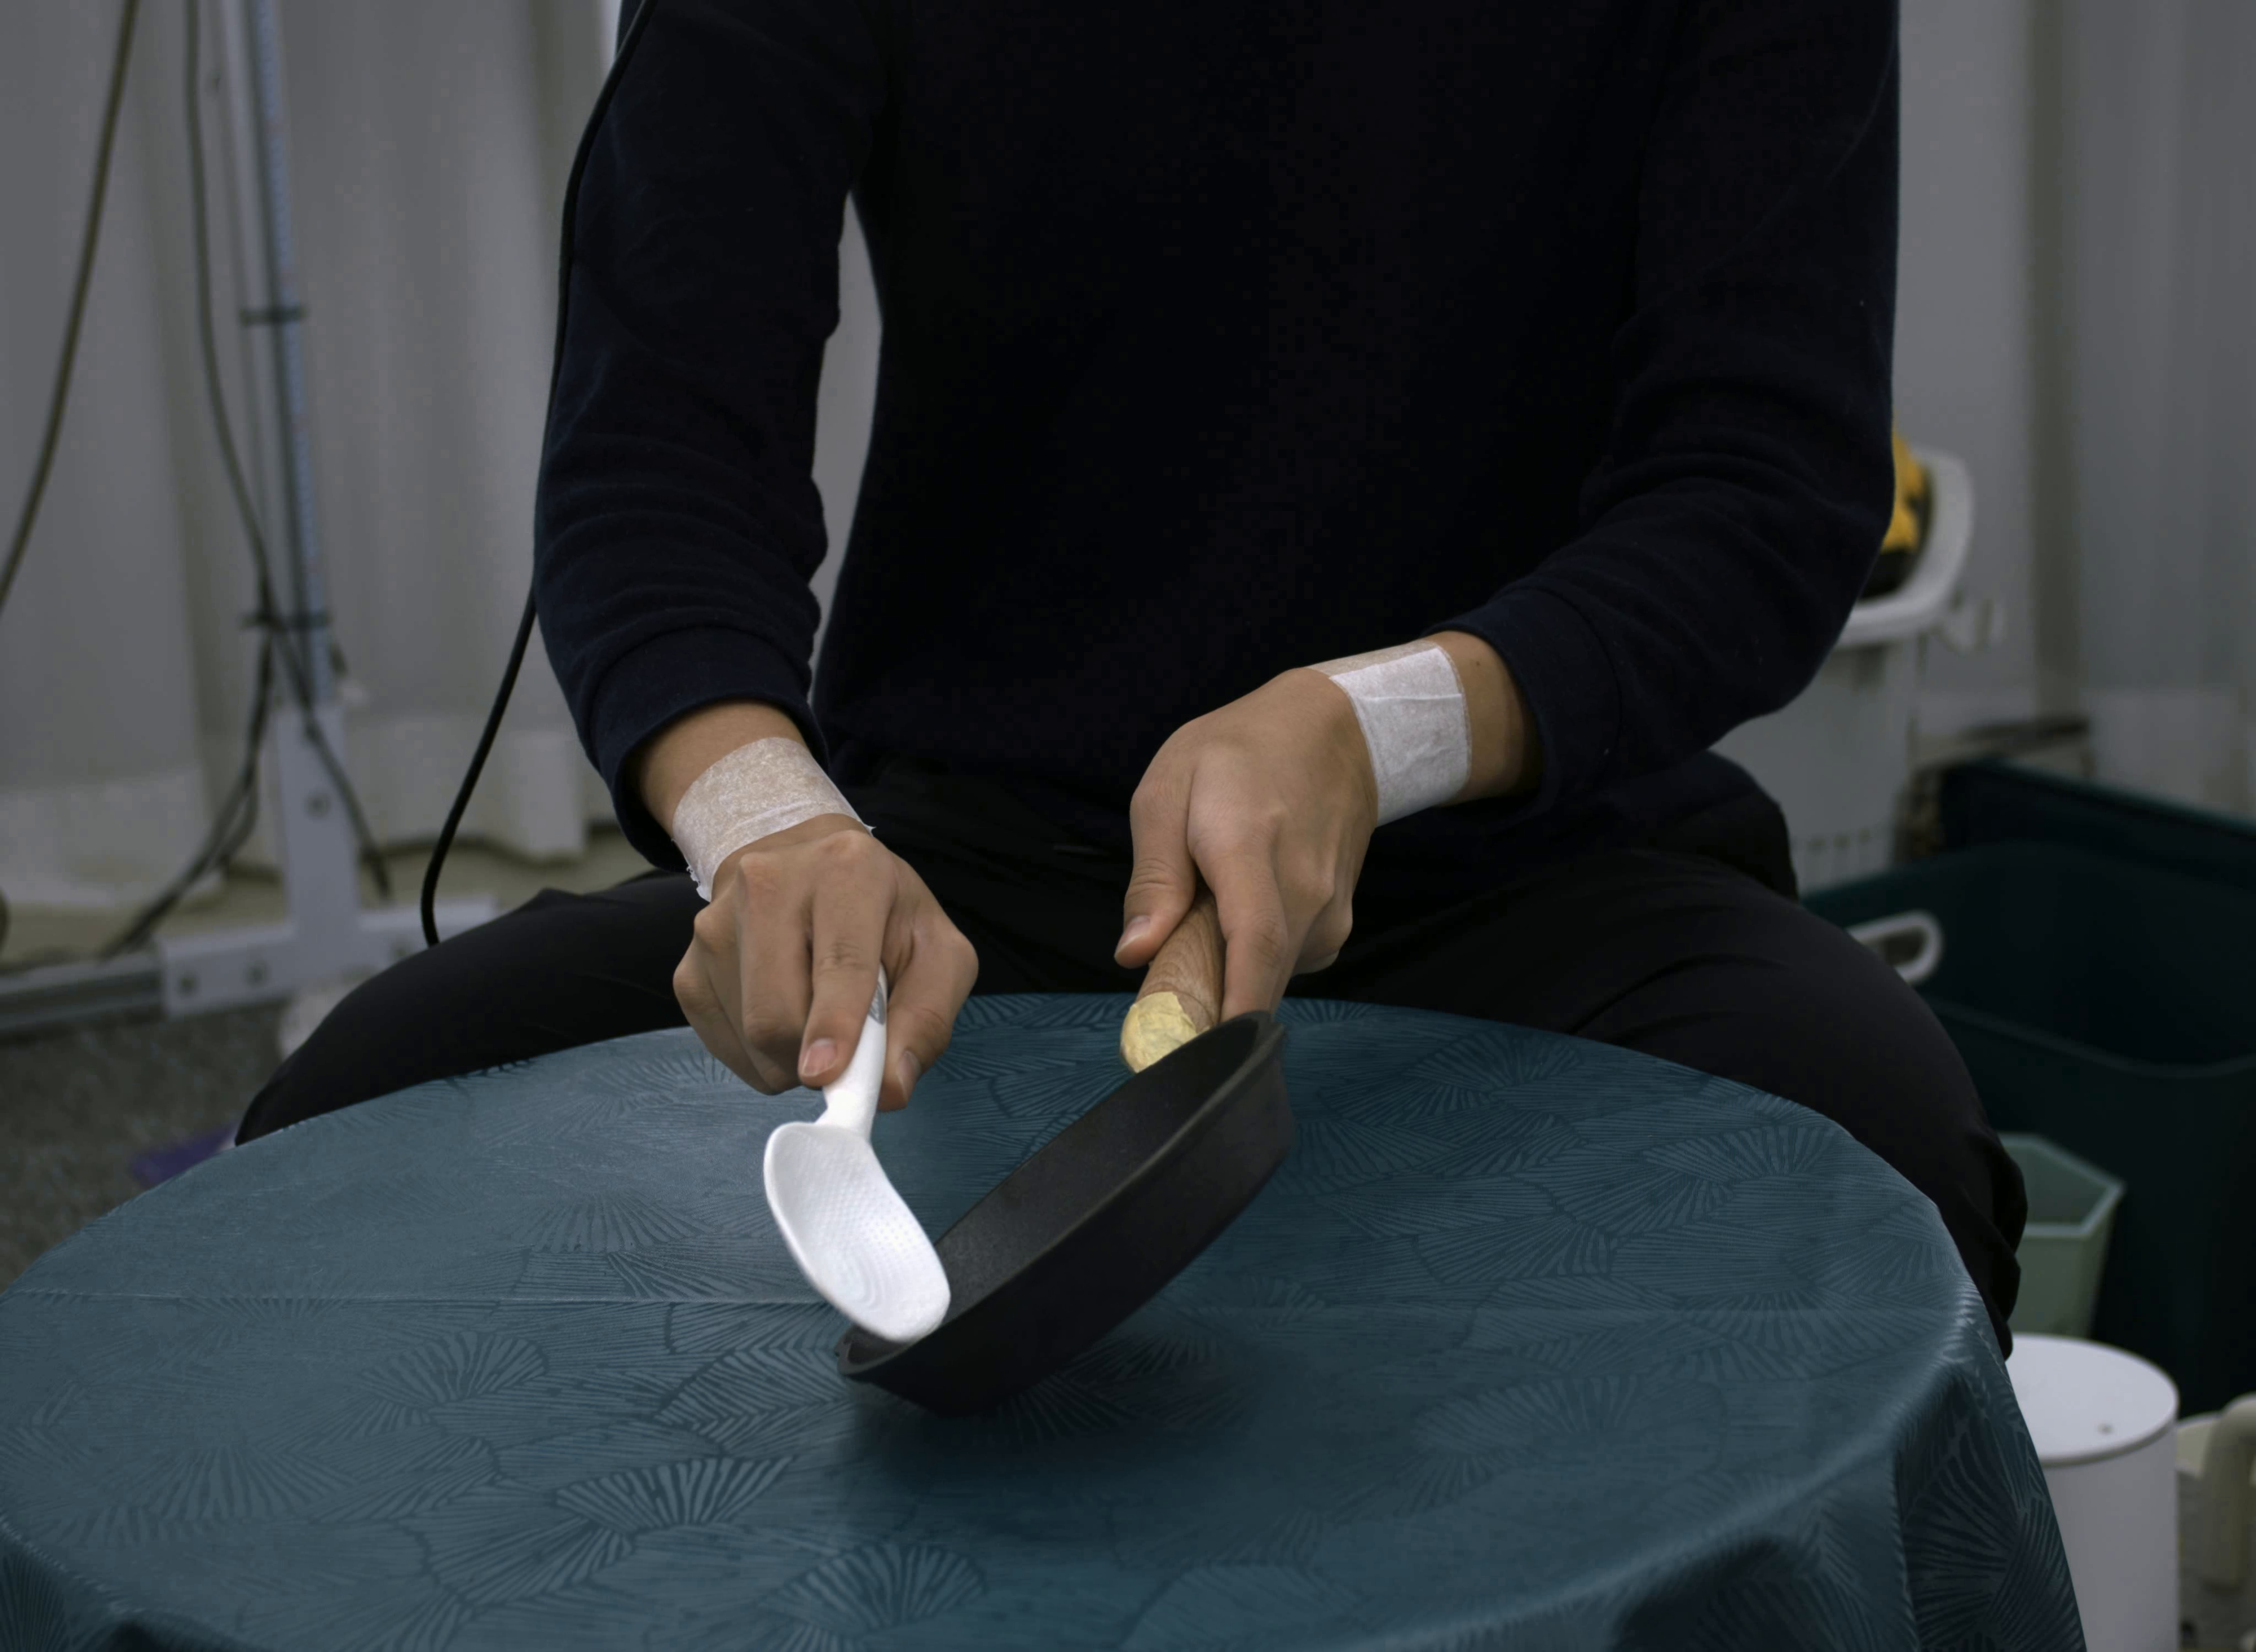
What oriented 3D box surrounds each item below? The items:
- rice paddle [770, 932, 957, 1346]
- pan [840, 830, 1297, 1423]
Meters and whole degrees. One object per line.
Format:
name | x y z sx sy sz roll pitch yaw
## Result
rice paddle | -0.079 0.088 1.562 0.068 0.029 0.207 38 15 -21
pan | 0.007 0.078 1.608 0.168 0.049 0.326 -36 8 25
